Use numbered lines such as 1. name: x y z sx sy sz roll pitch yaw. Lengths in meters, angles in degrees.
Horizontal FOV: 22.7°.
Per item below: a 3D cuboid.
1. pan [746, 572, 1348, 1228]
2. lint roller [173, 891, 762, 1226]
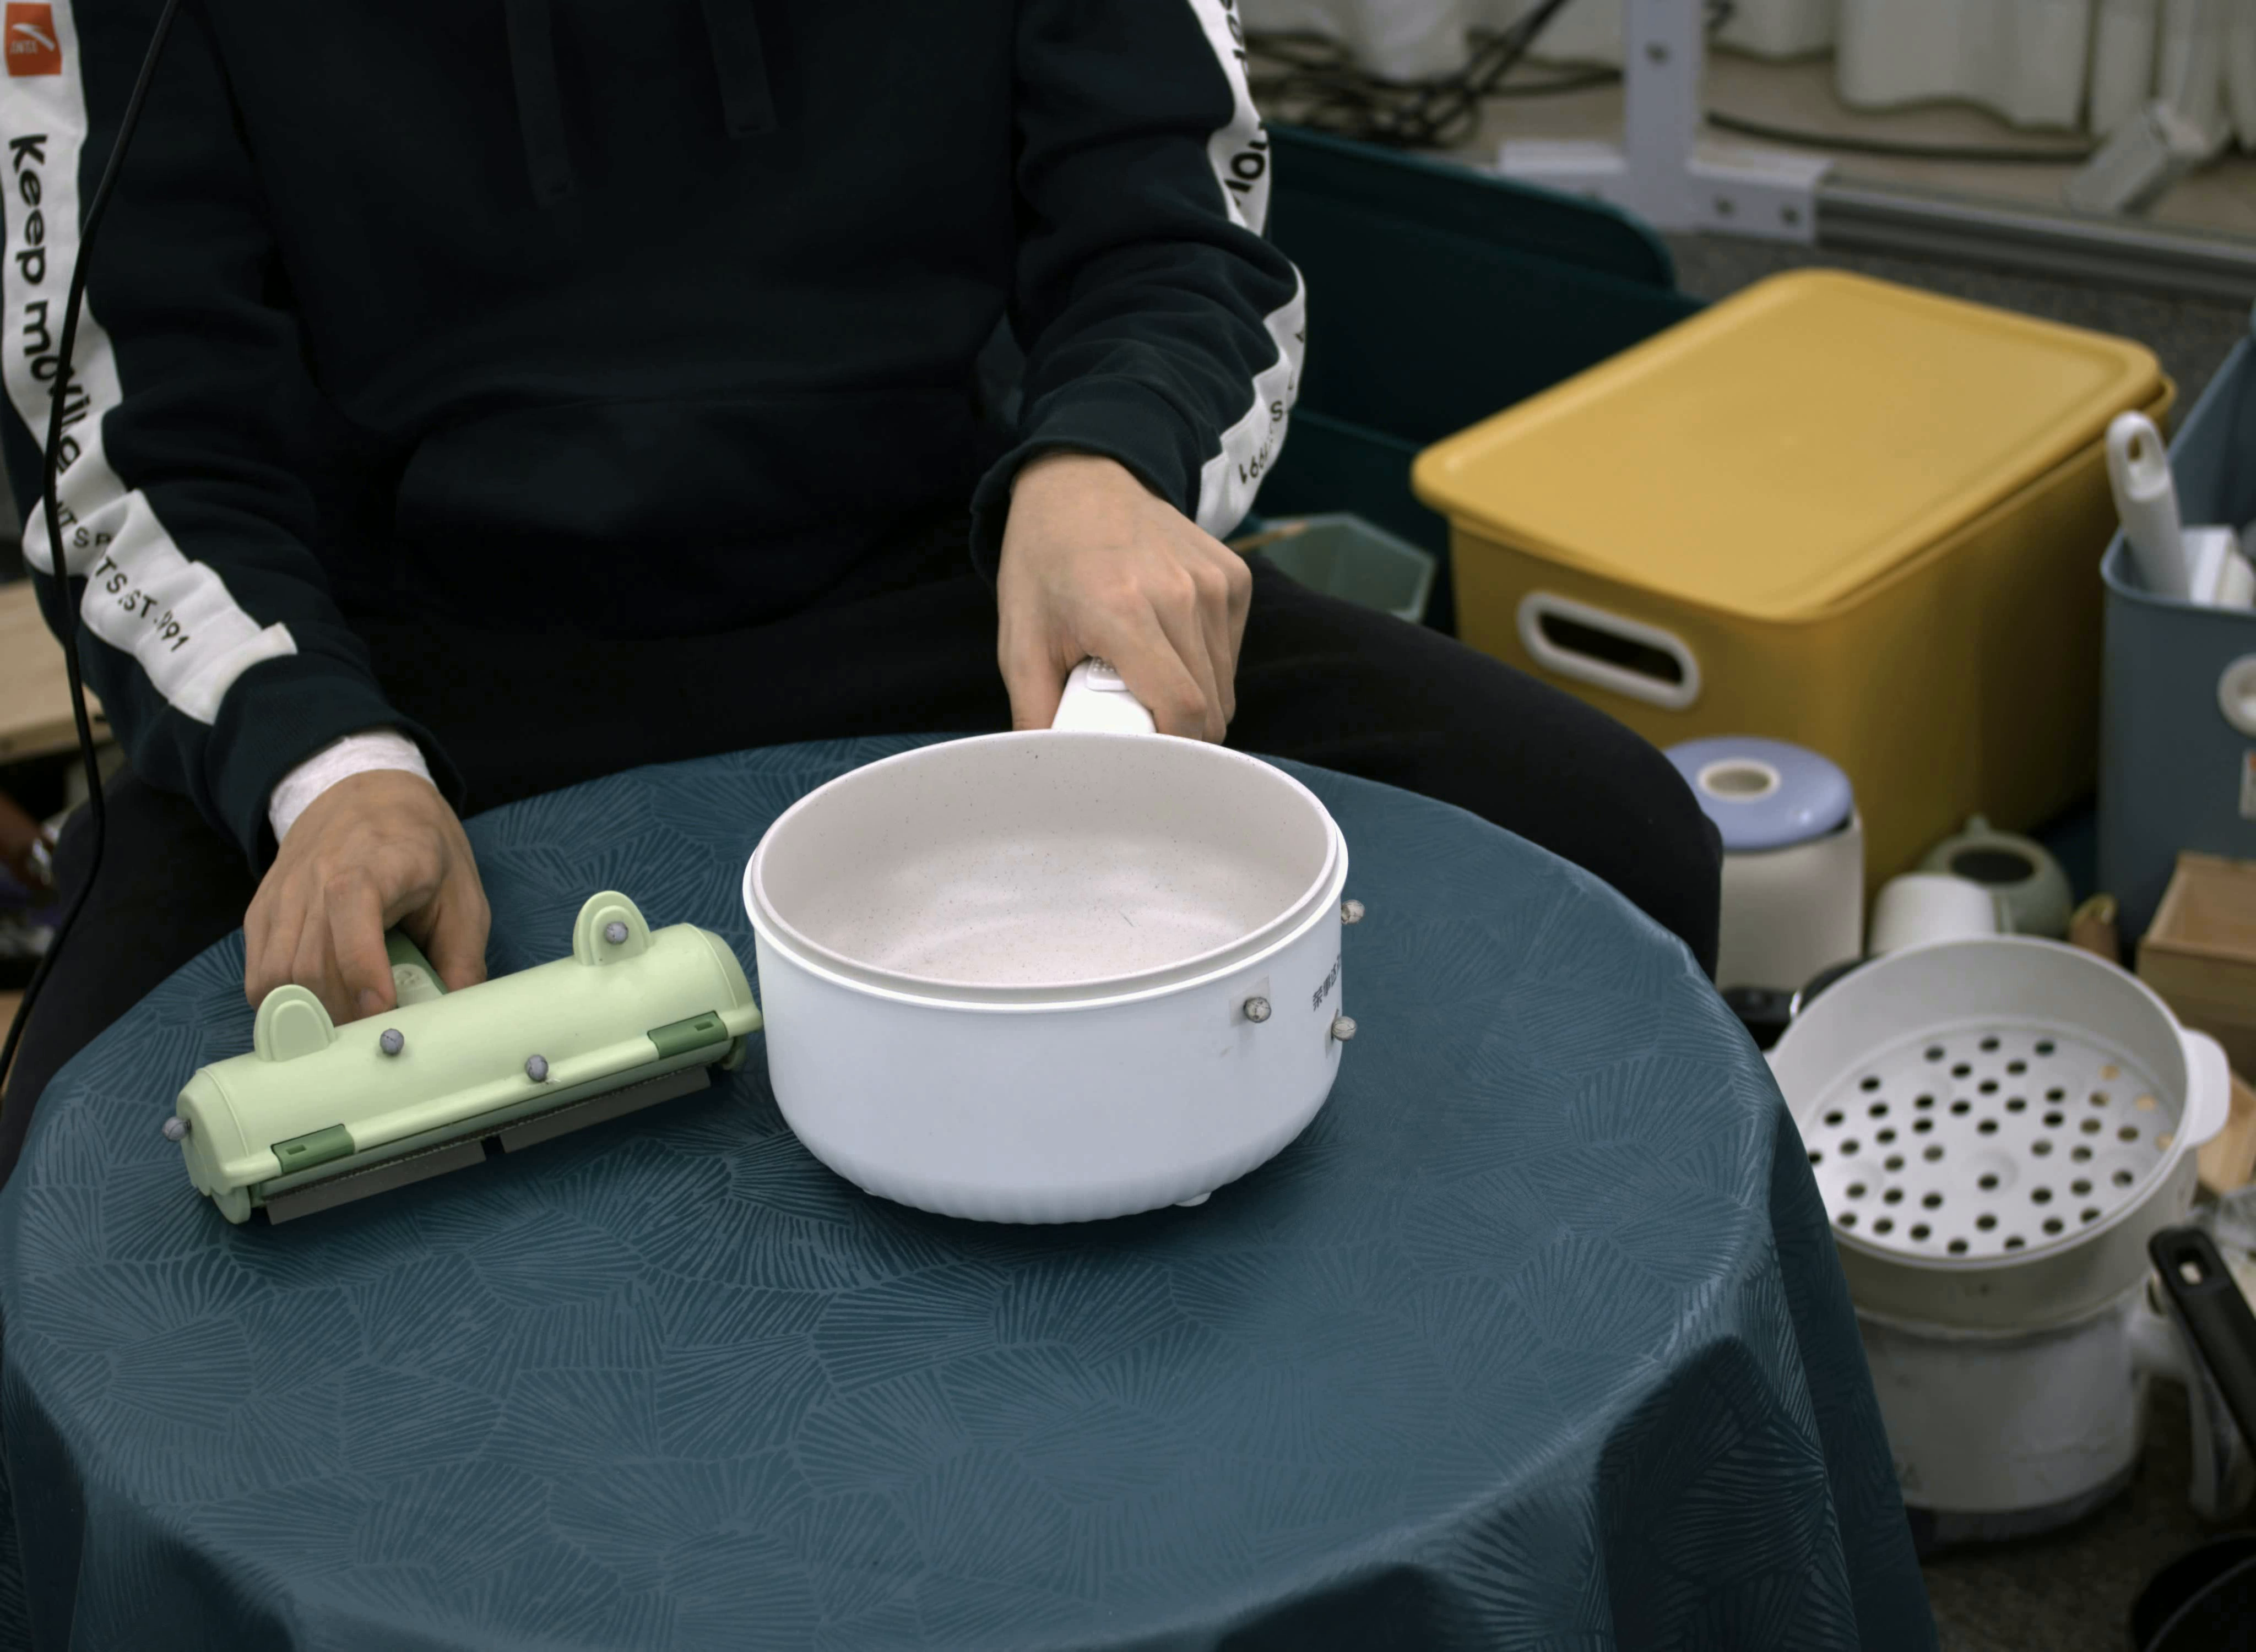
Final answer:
1. pan: -0.013 0.023 1.950 0.200 0.101 0.360 1 25 9
2. lint roller: -0.249 0.052 1.937 0.199 0.081 0.184 -16 35 -23
